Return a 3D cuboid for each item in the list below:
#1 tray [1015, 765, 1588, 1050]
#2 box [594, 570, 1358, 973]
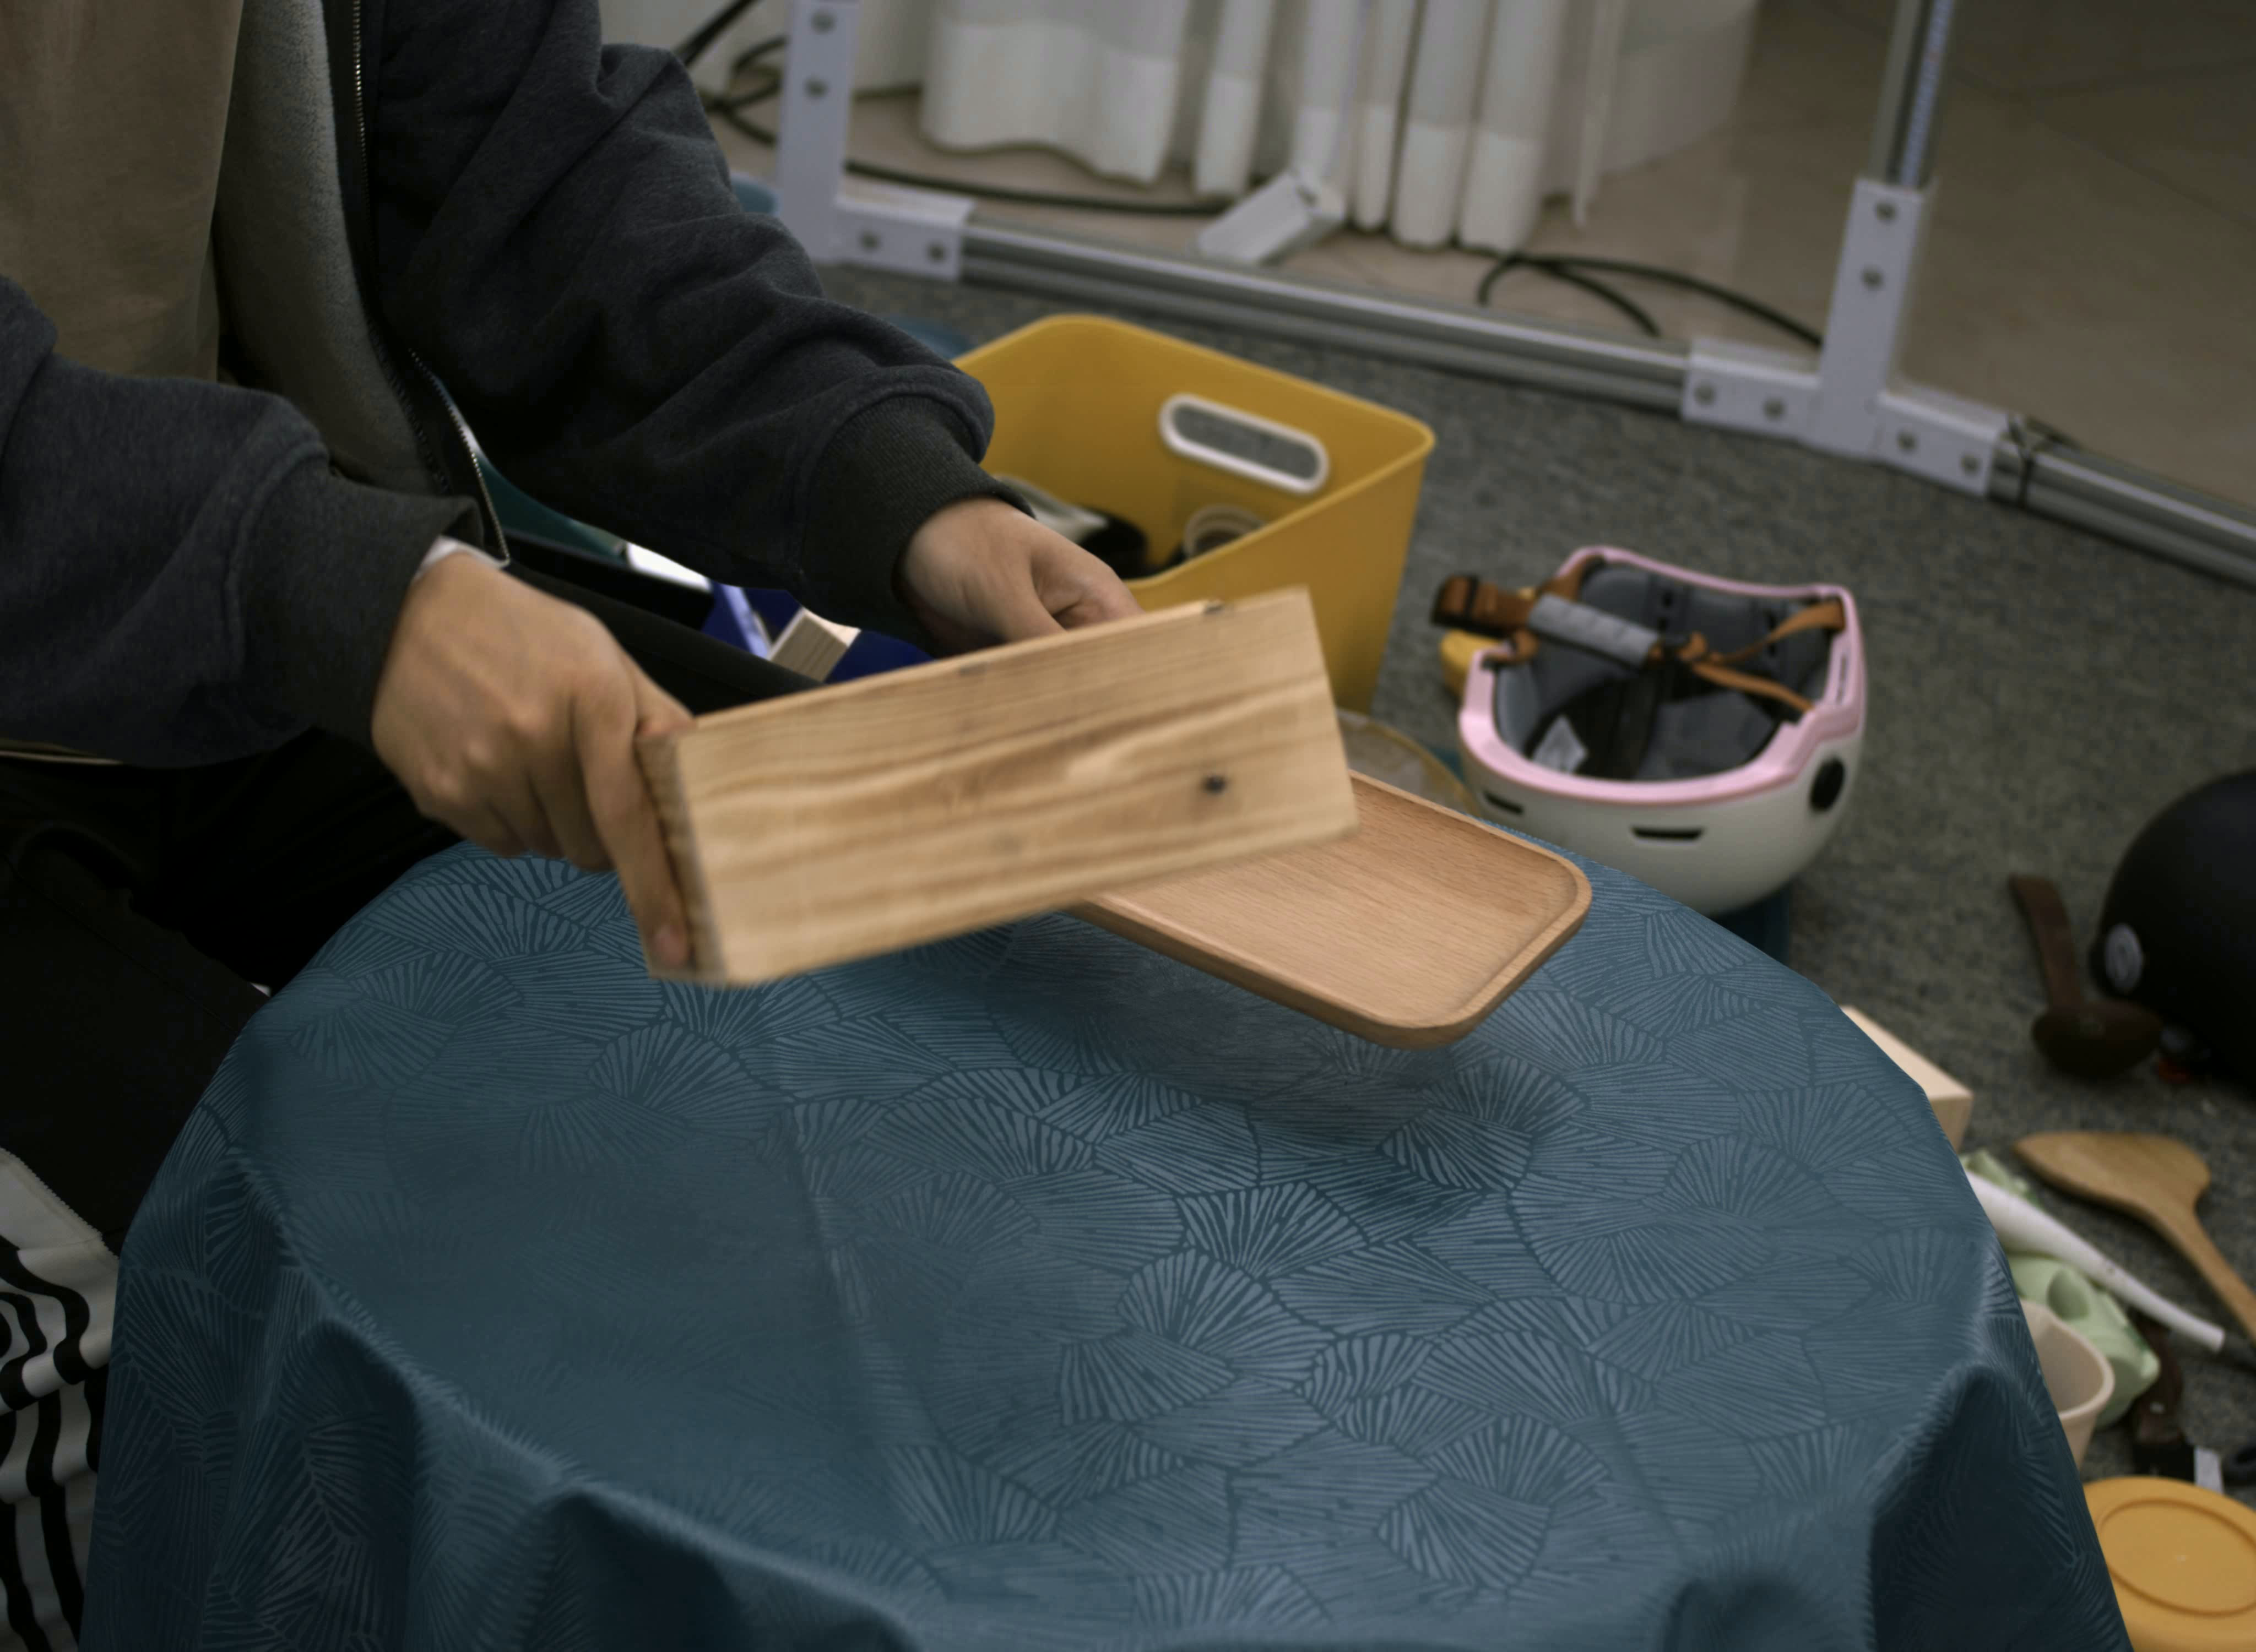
[{"bbox_3d":[0.035,0.008,1.907,0.252,0.023,0.130,23,37,27],"label":"tray"},{"bbox_3d":[-0.049,-0.016,1.680,0.210,0.080,0.108,-14,2,-18],"label":"box"}]
